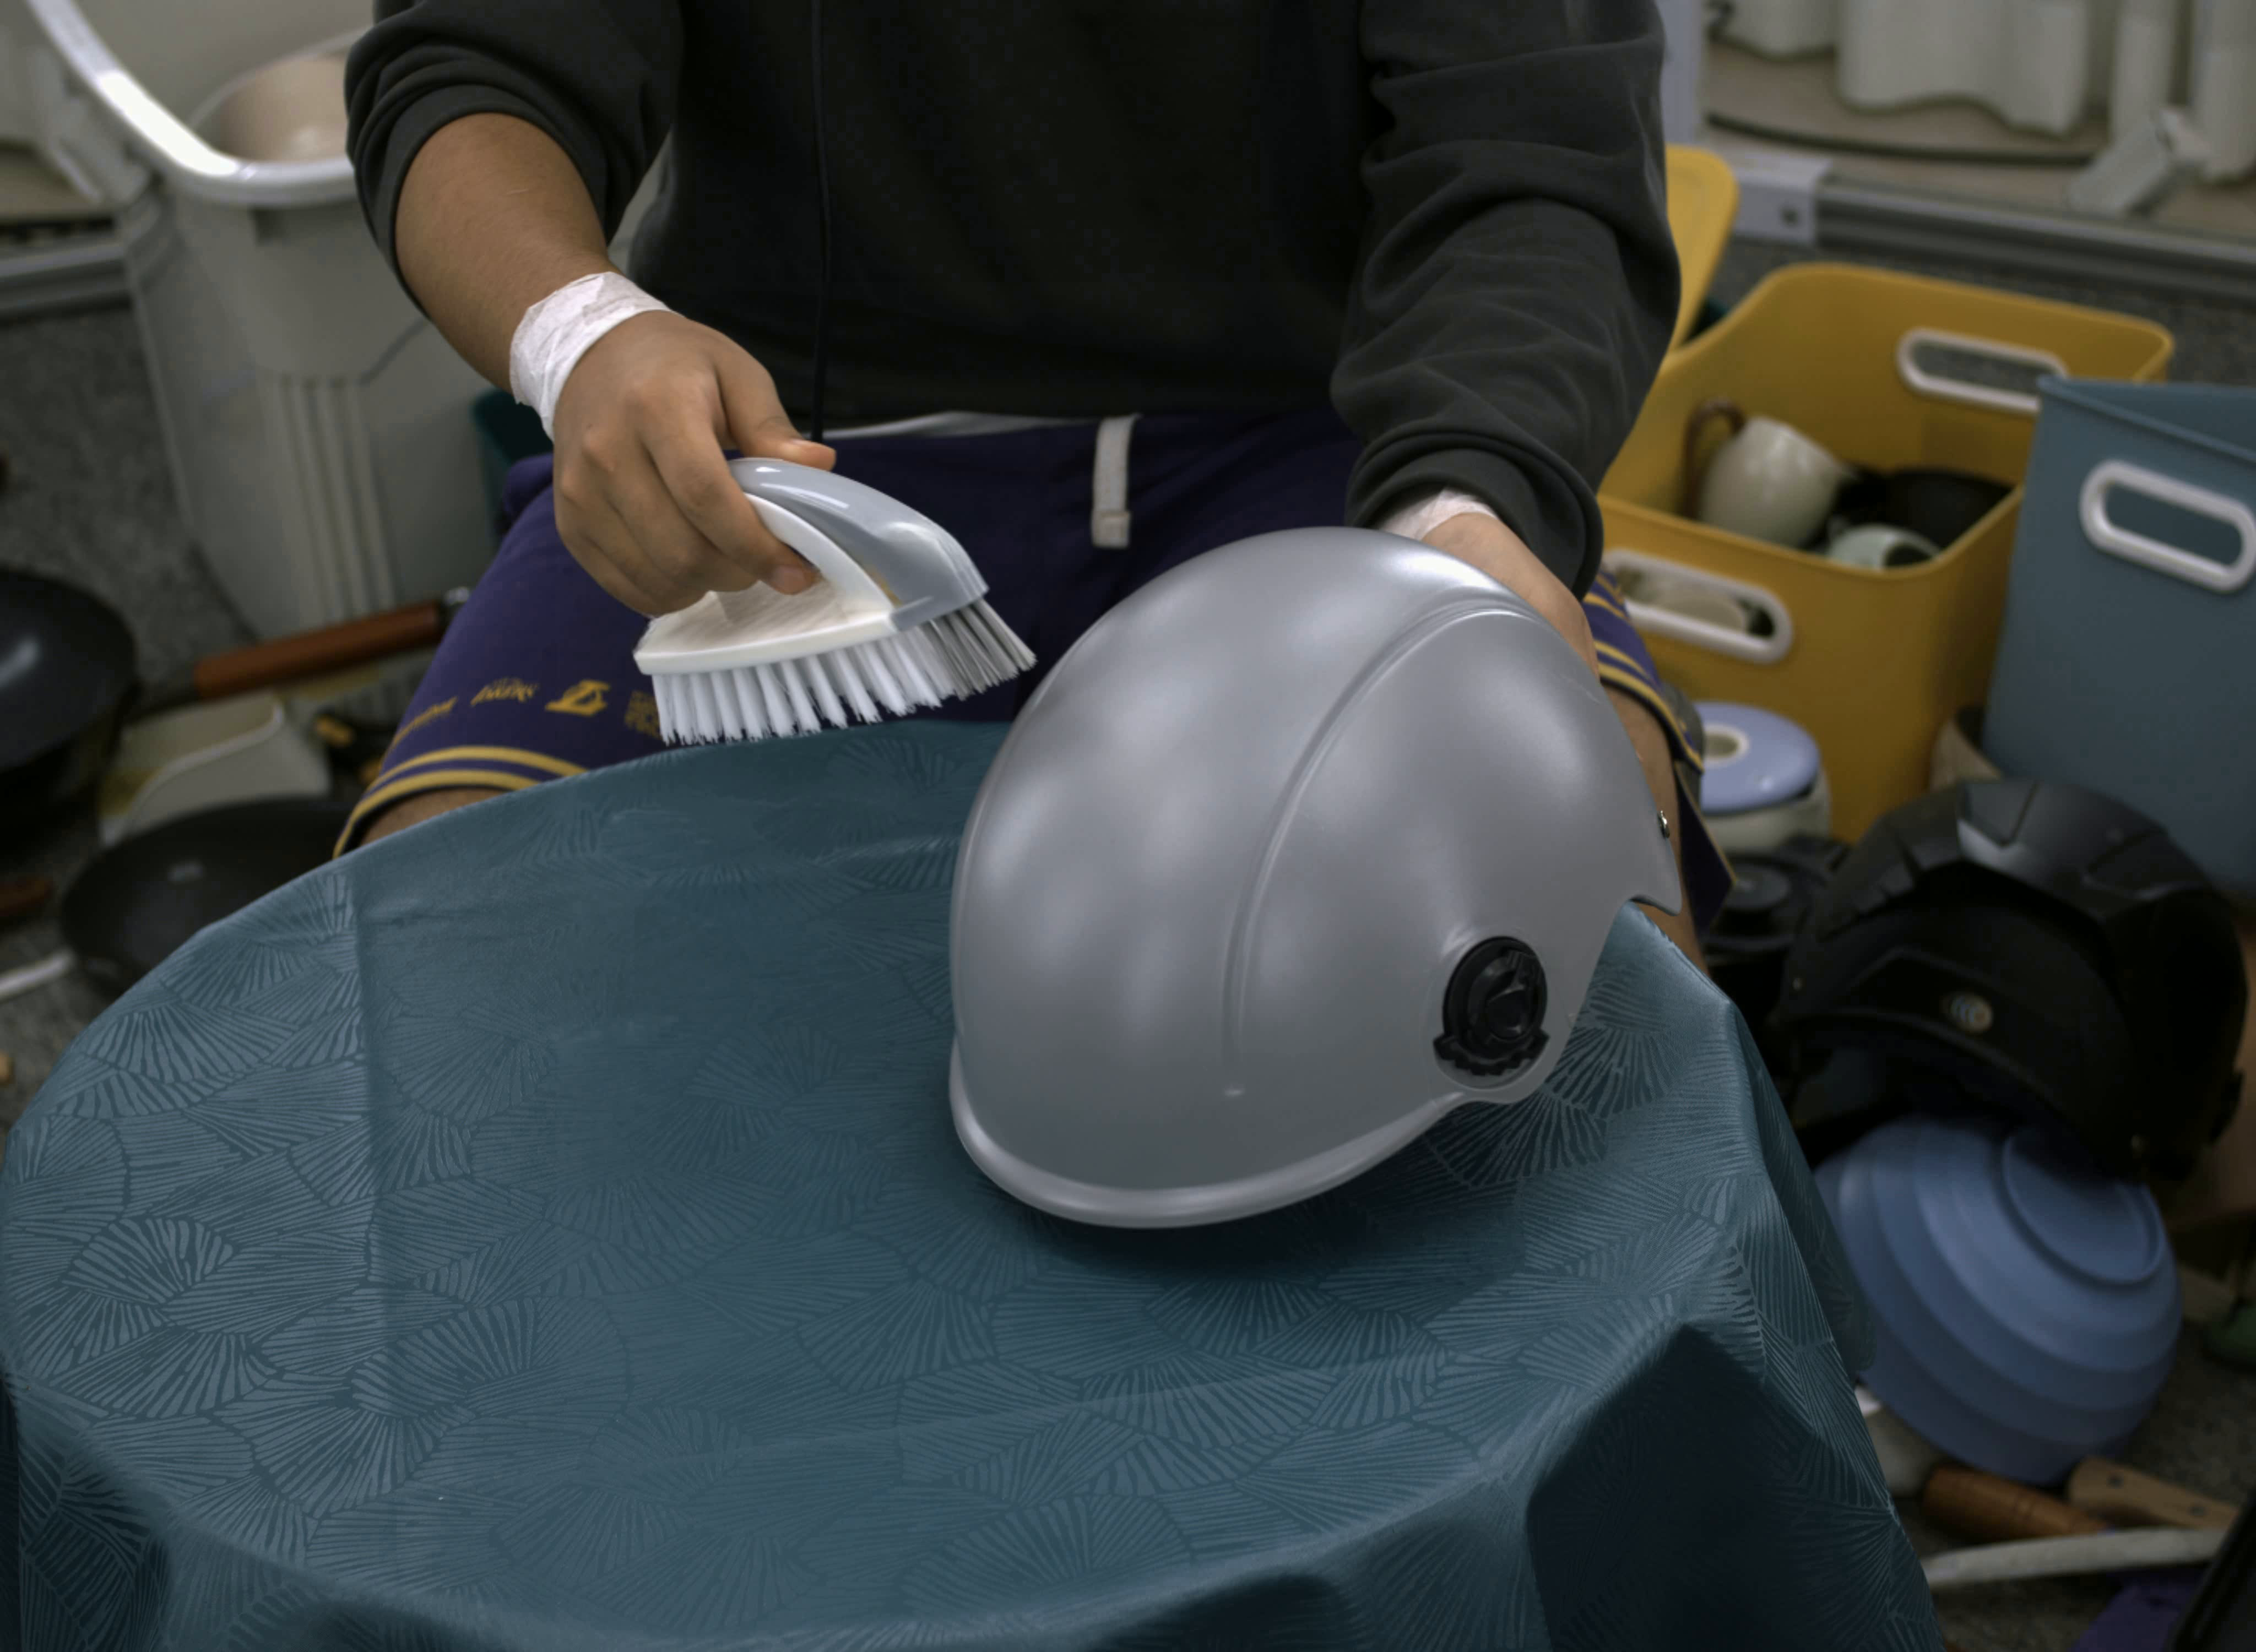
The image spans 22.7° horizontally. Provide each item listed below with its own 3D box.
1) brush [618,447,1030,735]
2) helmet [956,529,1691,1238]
[{"bbox_3d":[-0.108,-0.085,1.887,0.174,0.093,0.062,-1,32,48],"label":"brush"},{"bbox_3d":[0.050,-0.002,1.878,0.230,0.167,0.280,9,34,38],"label":"helmet"}]
